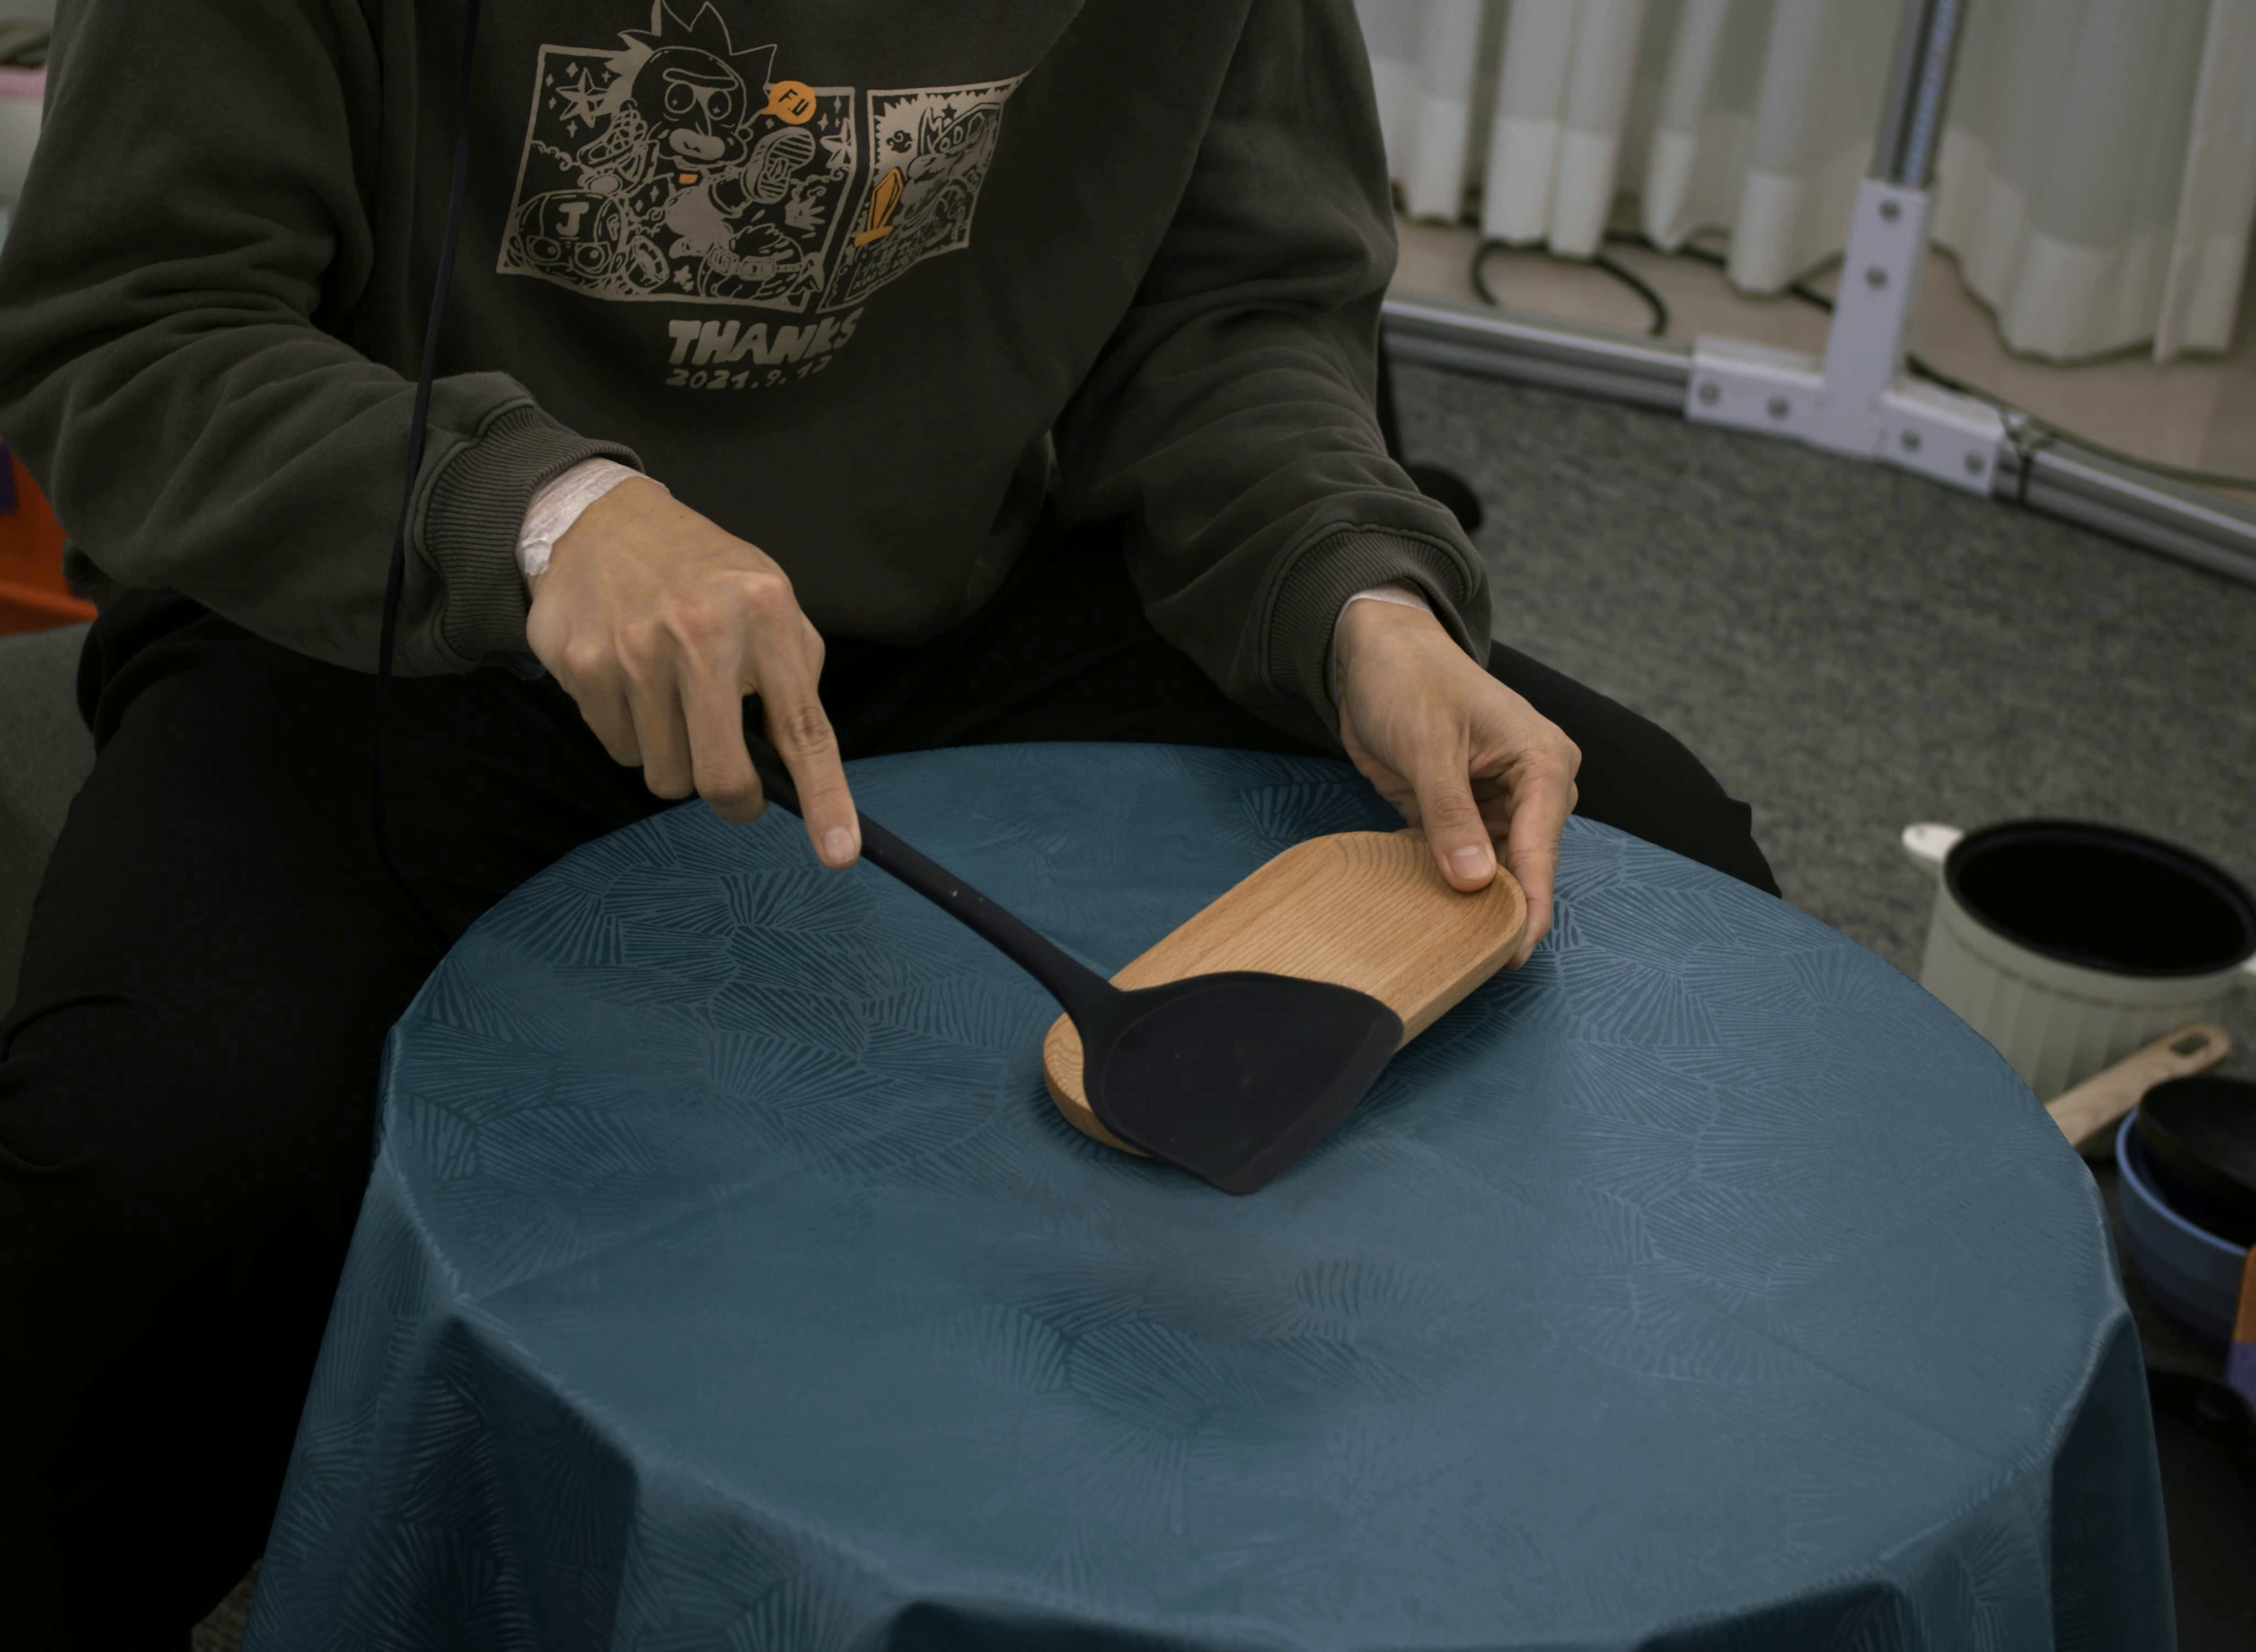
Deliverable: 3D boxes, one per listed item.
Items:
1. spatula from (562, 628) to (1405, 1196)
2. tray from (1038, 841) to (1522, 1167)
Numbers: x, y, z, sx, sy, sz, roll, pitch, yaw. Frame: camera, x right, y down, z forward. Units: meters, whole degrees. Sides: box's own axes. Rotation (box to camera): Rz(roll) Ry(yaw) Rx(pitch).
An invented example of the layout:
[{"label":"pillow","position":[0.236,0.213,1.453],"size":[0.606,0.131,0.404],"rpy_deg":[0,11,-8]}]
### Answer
[{"label":"spatula","position":[-0.062,0.015,1.770],"size":[0.327,0.040,0.100],"rpy_deg":[35,52,16]},{"label":"tray","position":[0.056,0.062,1.902],"size":[0.102,0.020,0.231],"rpy_deg":[19,35,30]}]
